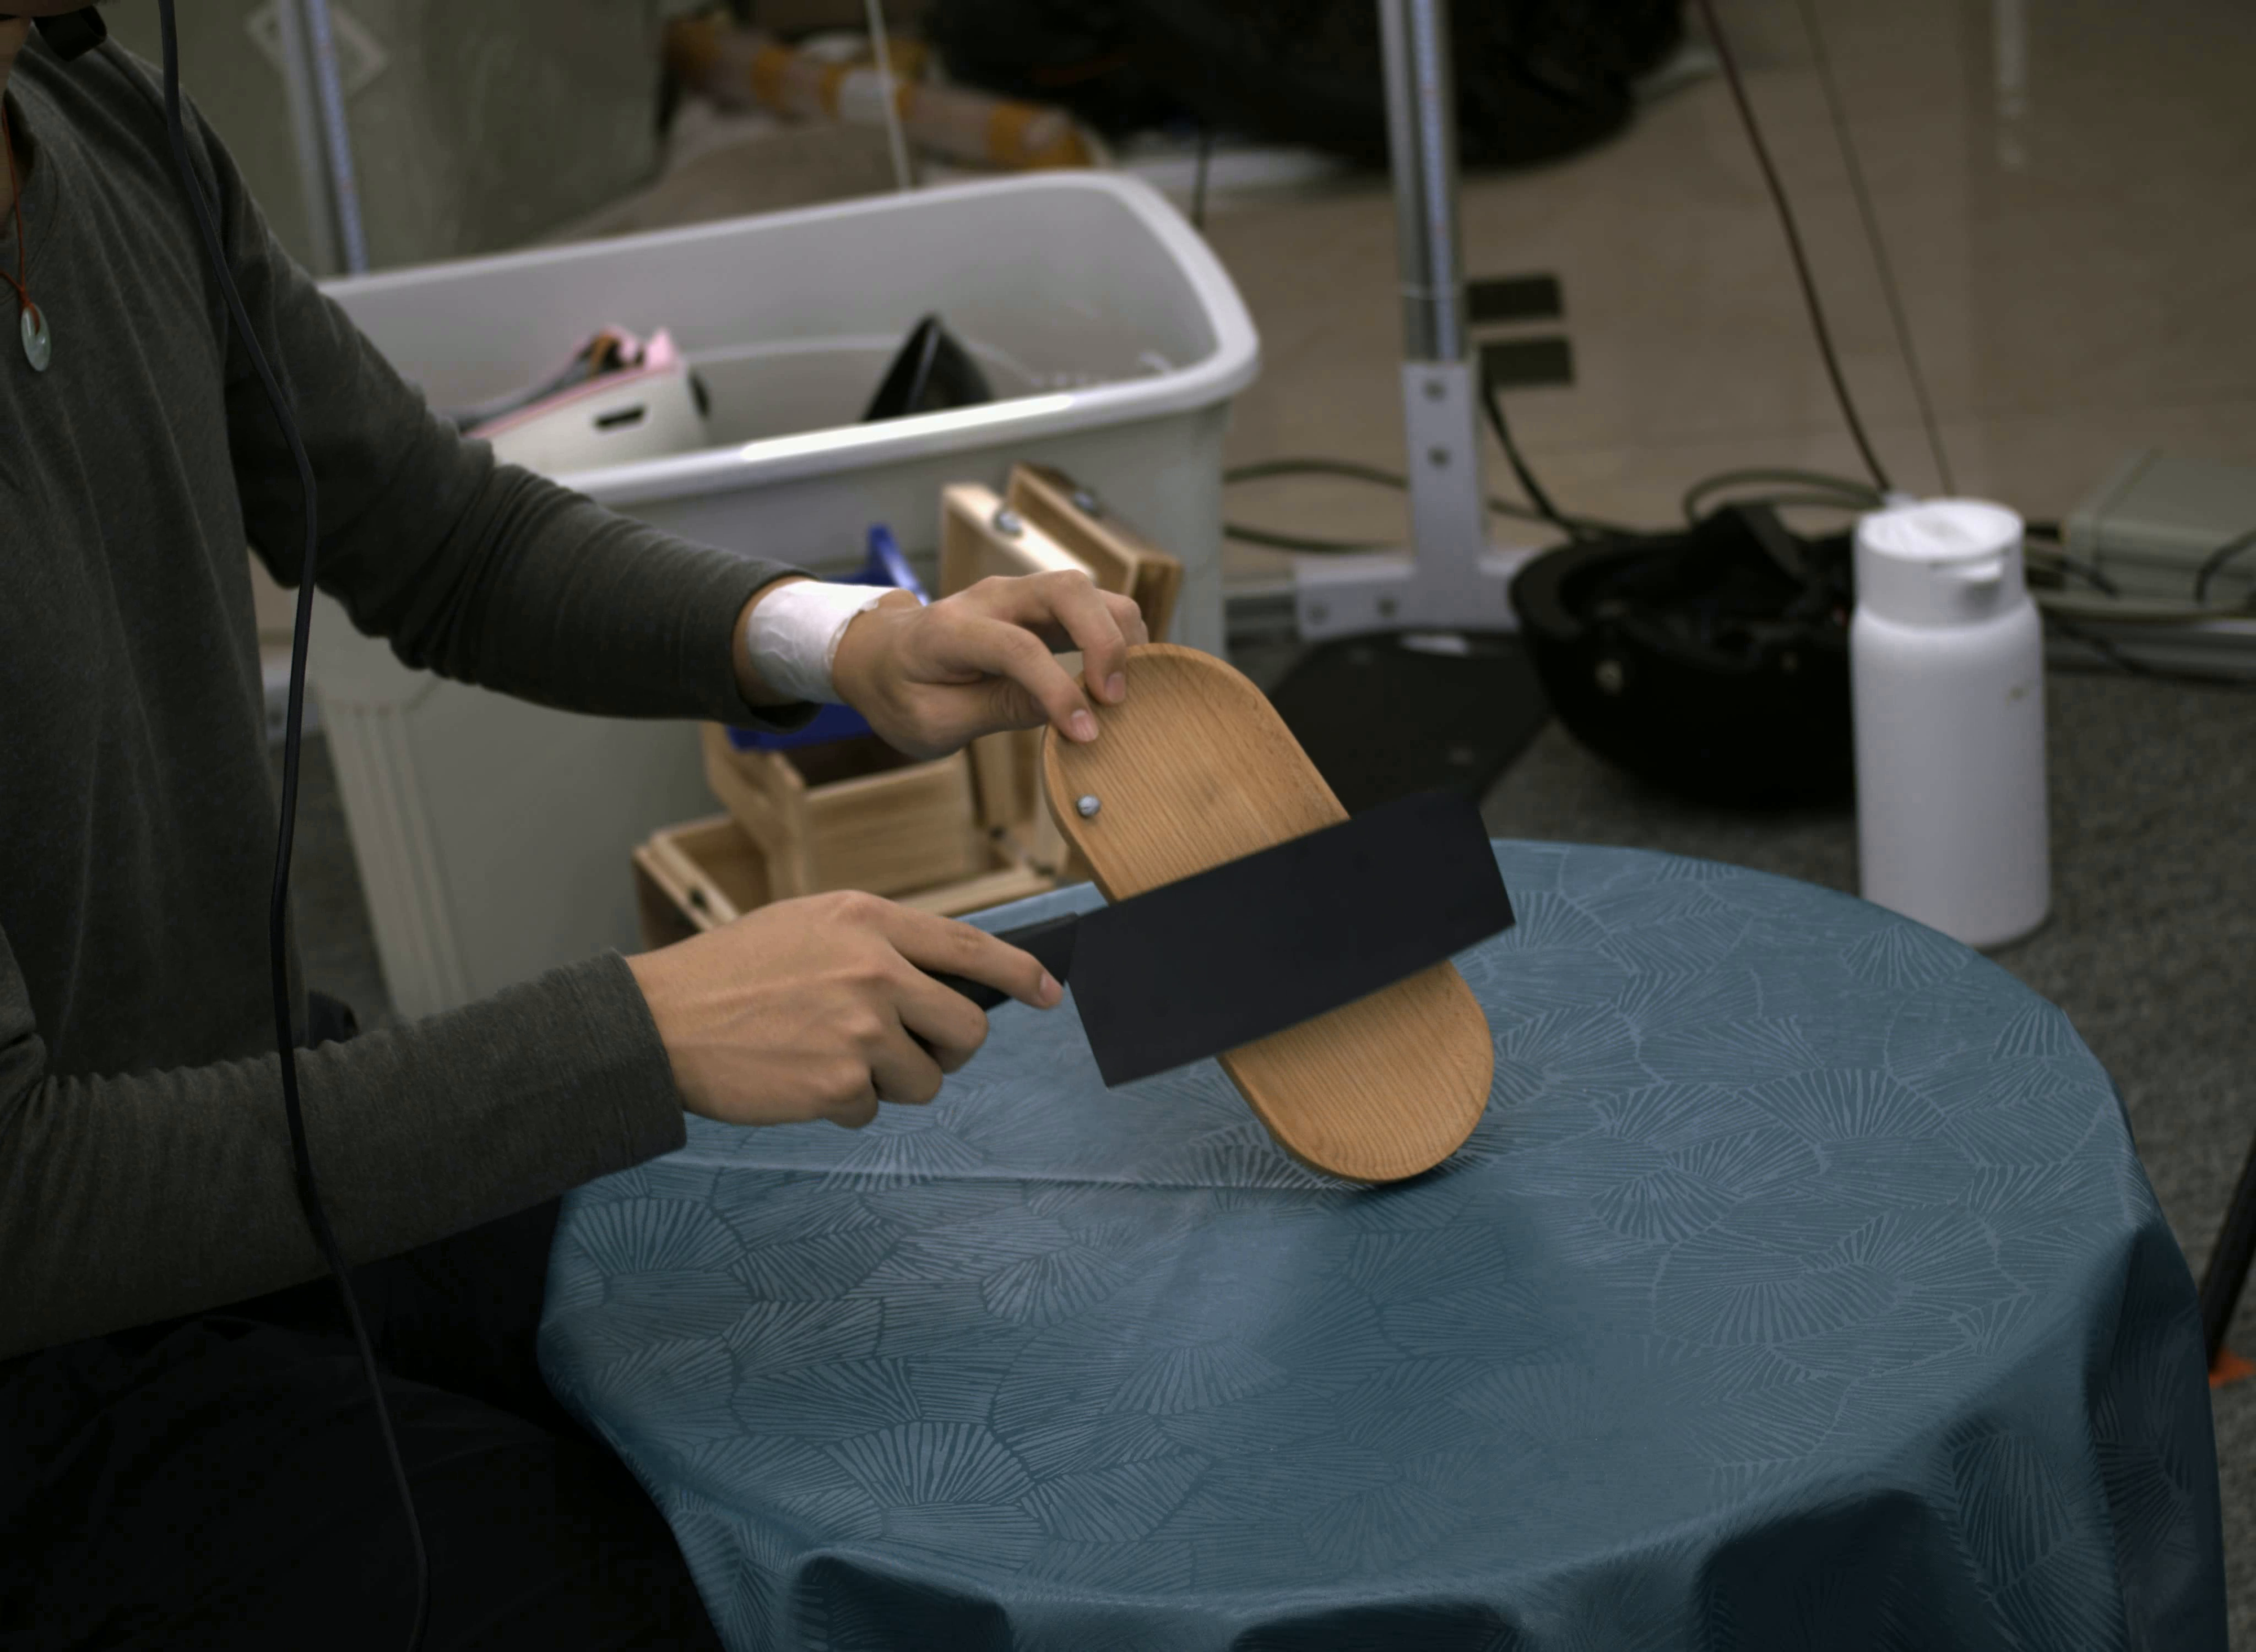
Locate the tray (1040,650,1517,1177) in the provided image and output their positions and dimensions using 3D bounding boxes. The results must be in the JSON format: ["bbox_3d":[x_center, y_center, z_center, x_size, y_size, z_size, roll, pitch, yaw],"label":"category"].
[{"bbox_3d":[0.056,0.033,2.146,0.101,0.231,0.020,-37,-3,-22],"label":"tray"}]

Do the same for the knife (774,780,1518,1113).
[{"bbox_3d":[0.008,0.054,2.098,0.301,0.081,0.021,-15,0,-21],"label":"knife"}]
